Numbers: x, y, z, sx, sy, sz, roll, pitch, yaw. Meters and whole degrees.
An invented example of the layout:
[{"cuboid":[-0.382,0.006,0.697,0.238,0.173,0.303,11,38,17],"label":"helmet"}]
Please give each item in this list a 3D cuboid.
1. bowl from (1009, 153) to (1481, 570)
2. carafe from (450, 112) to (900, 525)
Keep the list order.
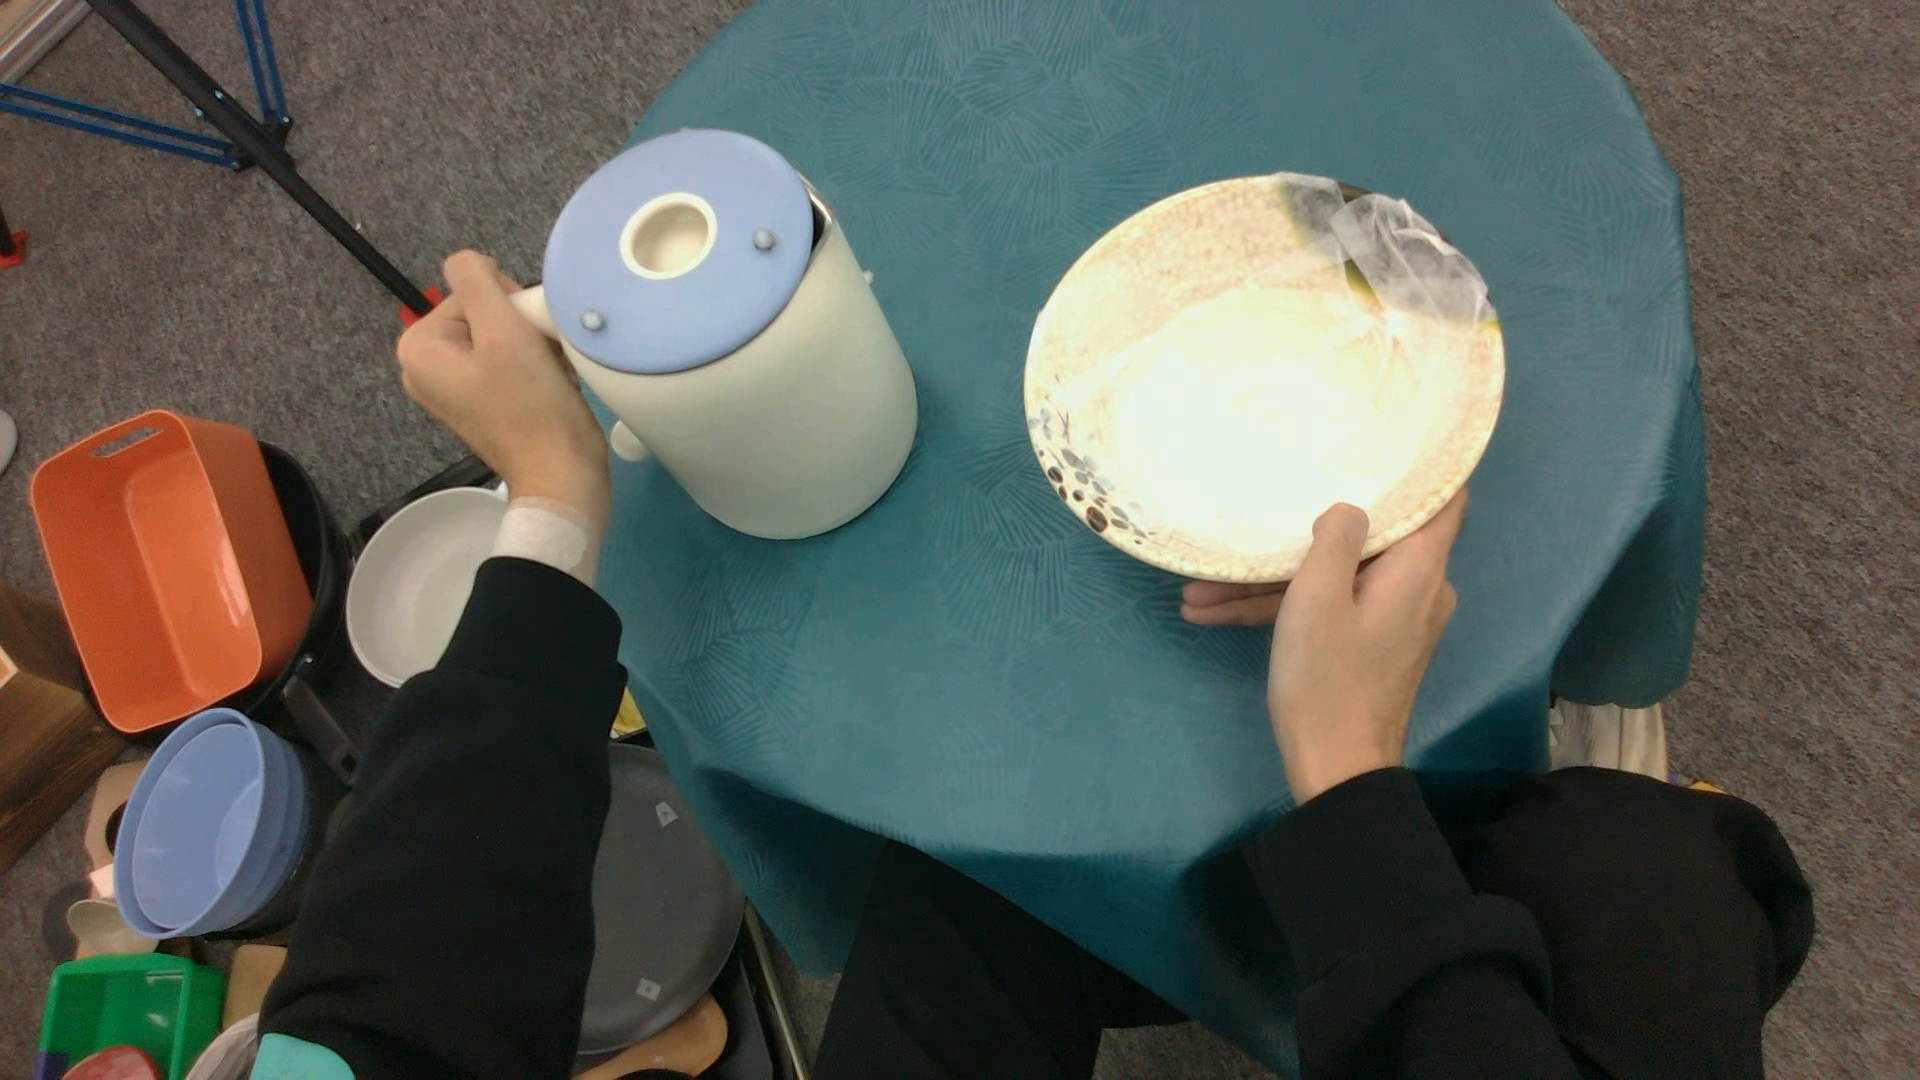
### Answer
[{"cuboid":[0.129,-0.072,0.637,0.204,0.078,0.204,-5,69,13],"label":"bowl"},{"cuboid":[-0.134,-0.092,0.648,0.191,0.182,0.132,-13,64,9],"label":"carafe"}]
